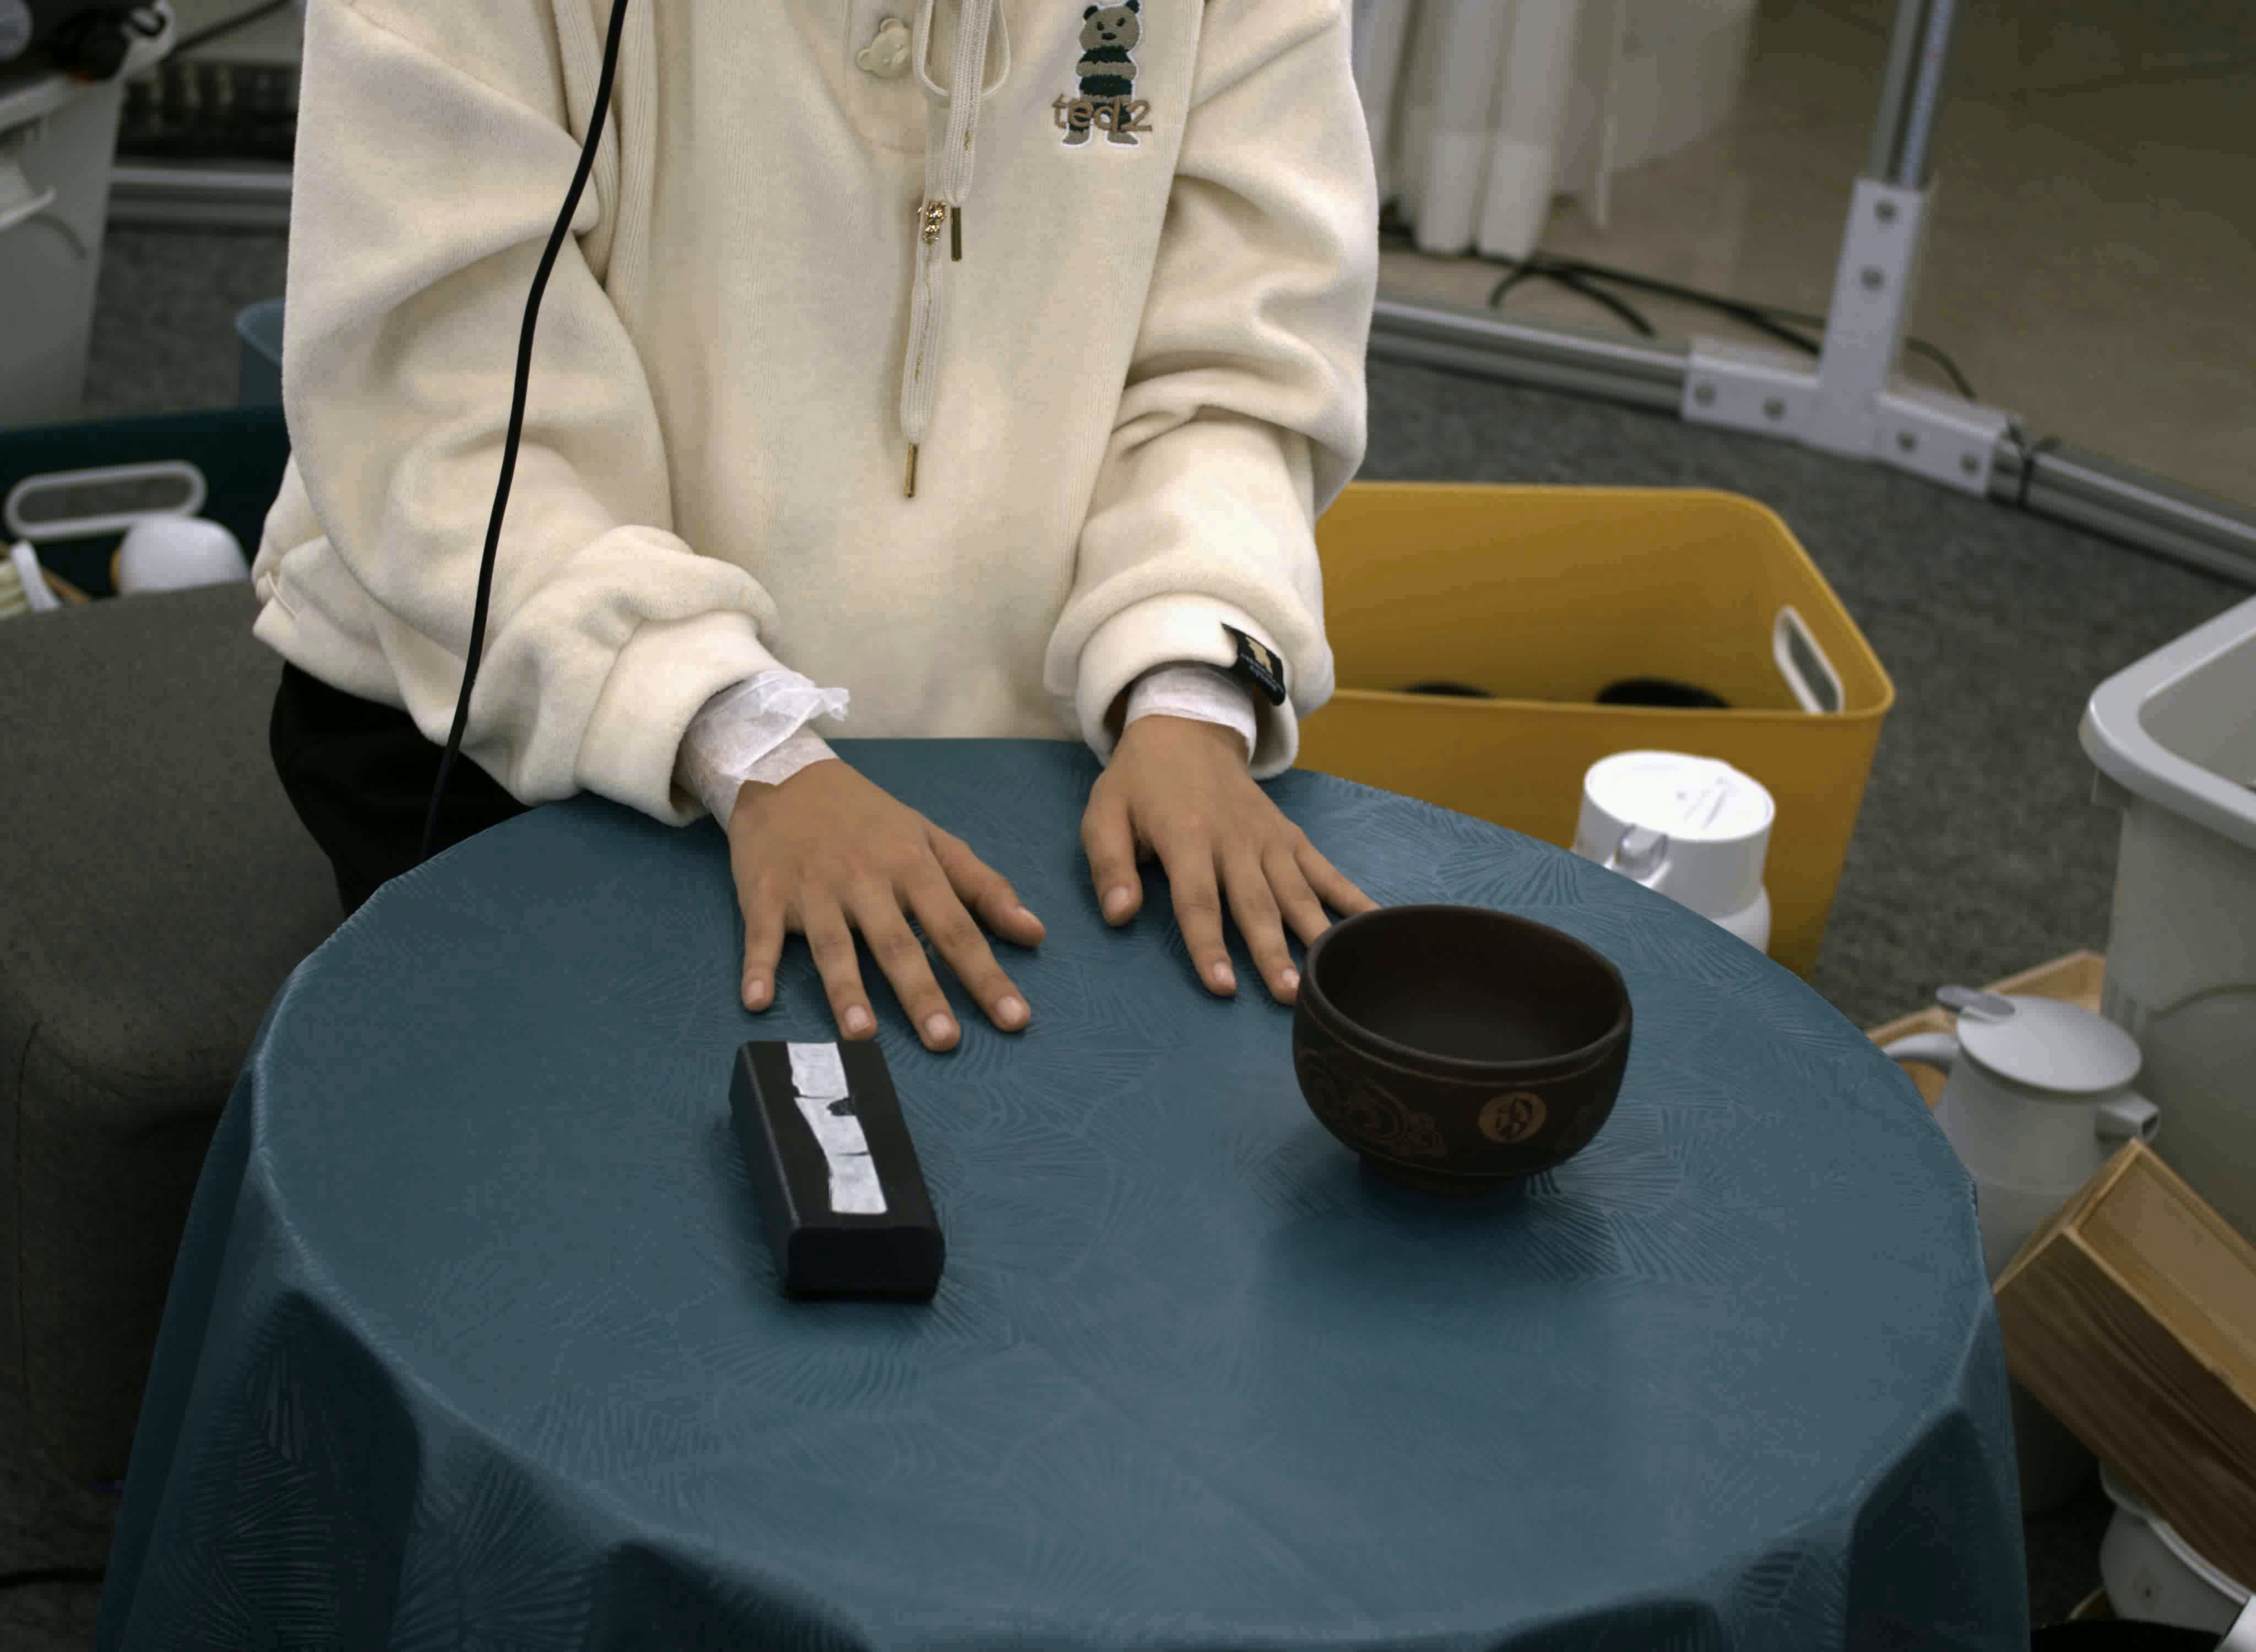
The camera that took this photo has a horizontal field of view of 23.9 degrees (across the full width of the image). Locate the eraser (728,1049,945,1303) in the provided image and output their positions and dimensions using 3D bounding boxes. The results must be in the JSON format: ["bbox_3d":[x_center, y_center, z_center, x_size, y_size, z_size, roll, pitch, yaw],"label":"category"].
[{"bbox_3d":[-0.098,0.115,1.767,0.053,0.030,0.126,1,26,-14],"label":"eraser"}]

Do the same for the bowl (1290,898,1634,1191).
[{"bbox_3d":[0.112,0.082,1.830,0.117,0.069,0.119,4,26,-3],"label":"bowl"}]
